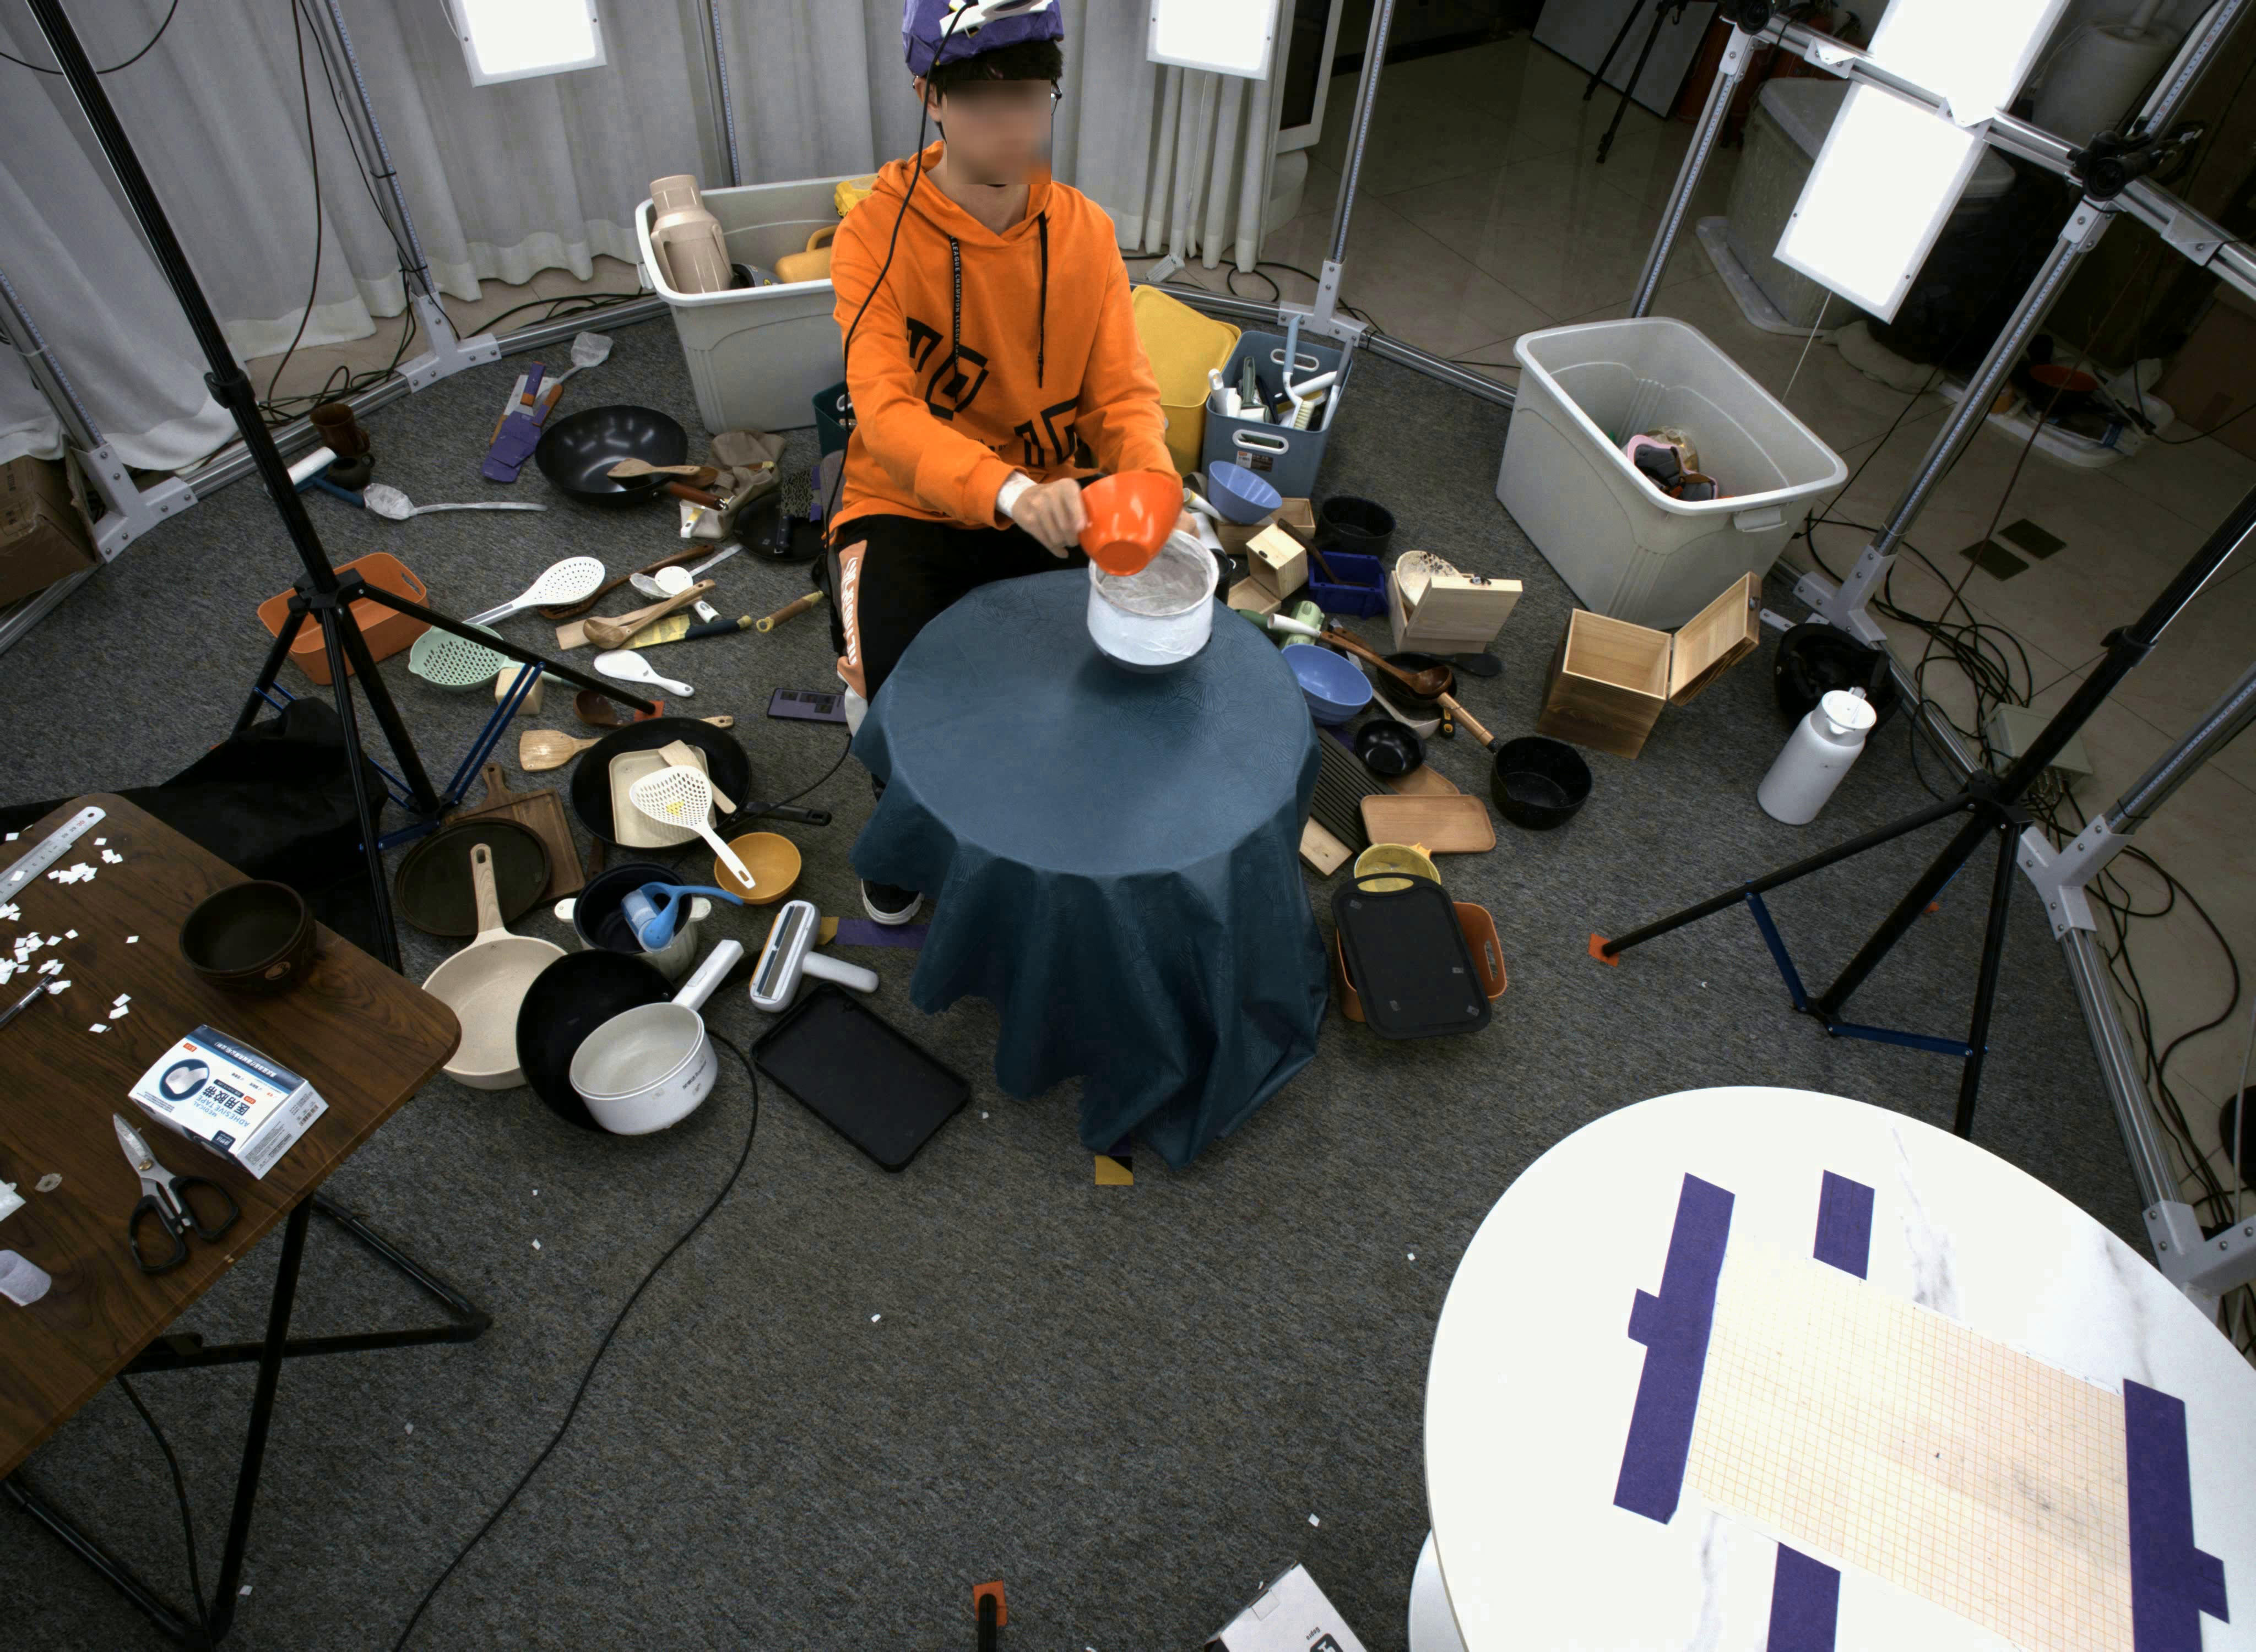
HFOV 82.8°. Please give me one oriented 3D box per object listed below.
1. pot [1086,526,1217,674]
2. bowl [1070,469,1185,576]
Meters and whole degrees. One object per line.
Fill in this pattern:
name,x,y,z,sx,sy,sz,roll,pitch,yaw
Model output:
pot,0.034,-0.334,1.811,0.179,0.133,0.239,8,53,3
bowl,0.002,-0.371,1.627,0.148,0.144,0.107,0,55,-5
